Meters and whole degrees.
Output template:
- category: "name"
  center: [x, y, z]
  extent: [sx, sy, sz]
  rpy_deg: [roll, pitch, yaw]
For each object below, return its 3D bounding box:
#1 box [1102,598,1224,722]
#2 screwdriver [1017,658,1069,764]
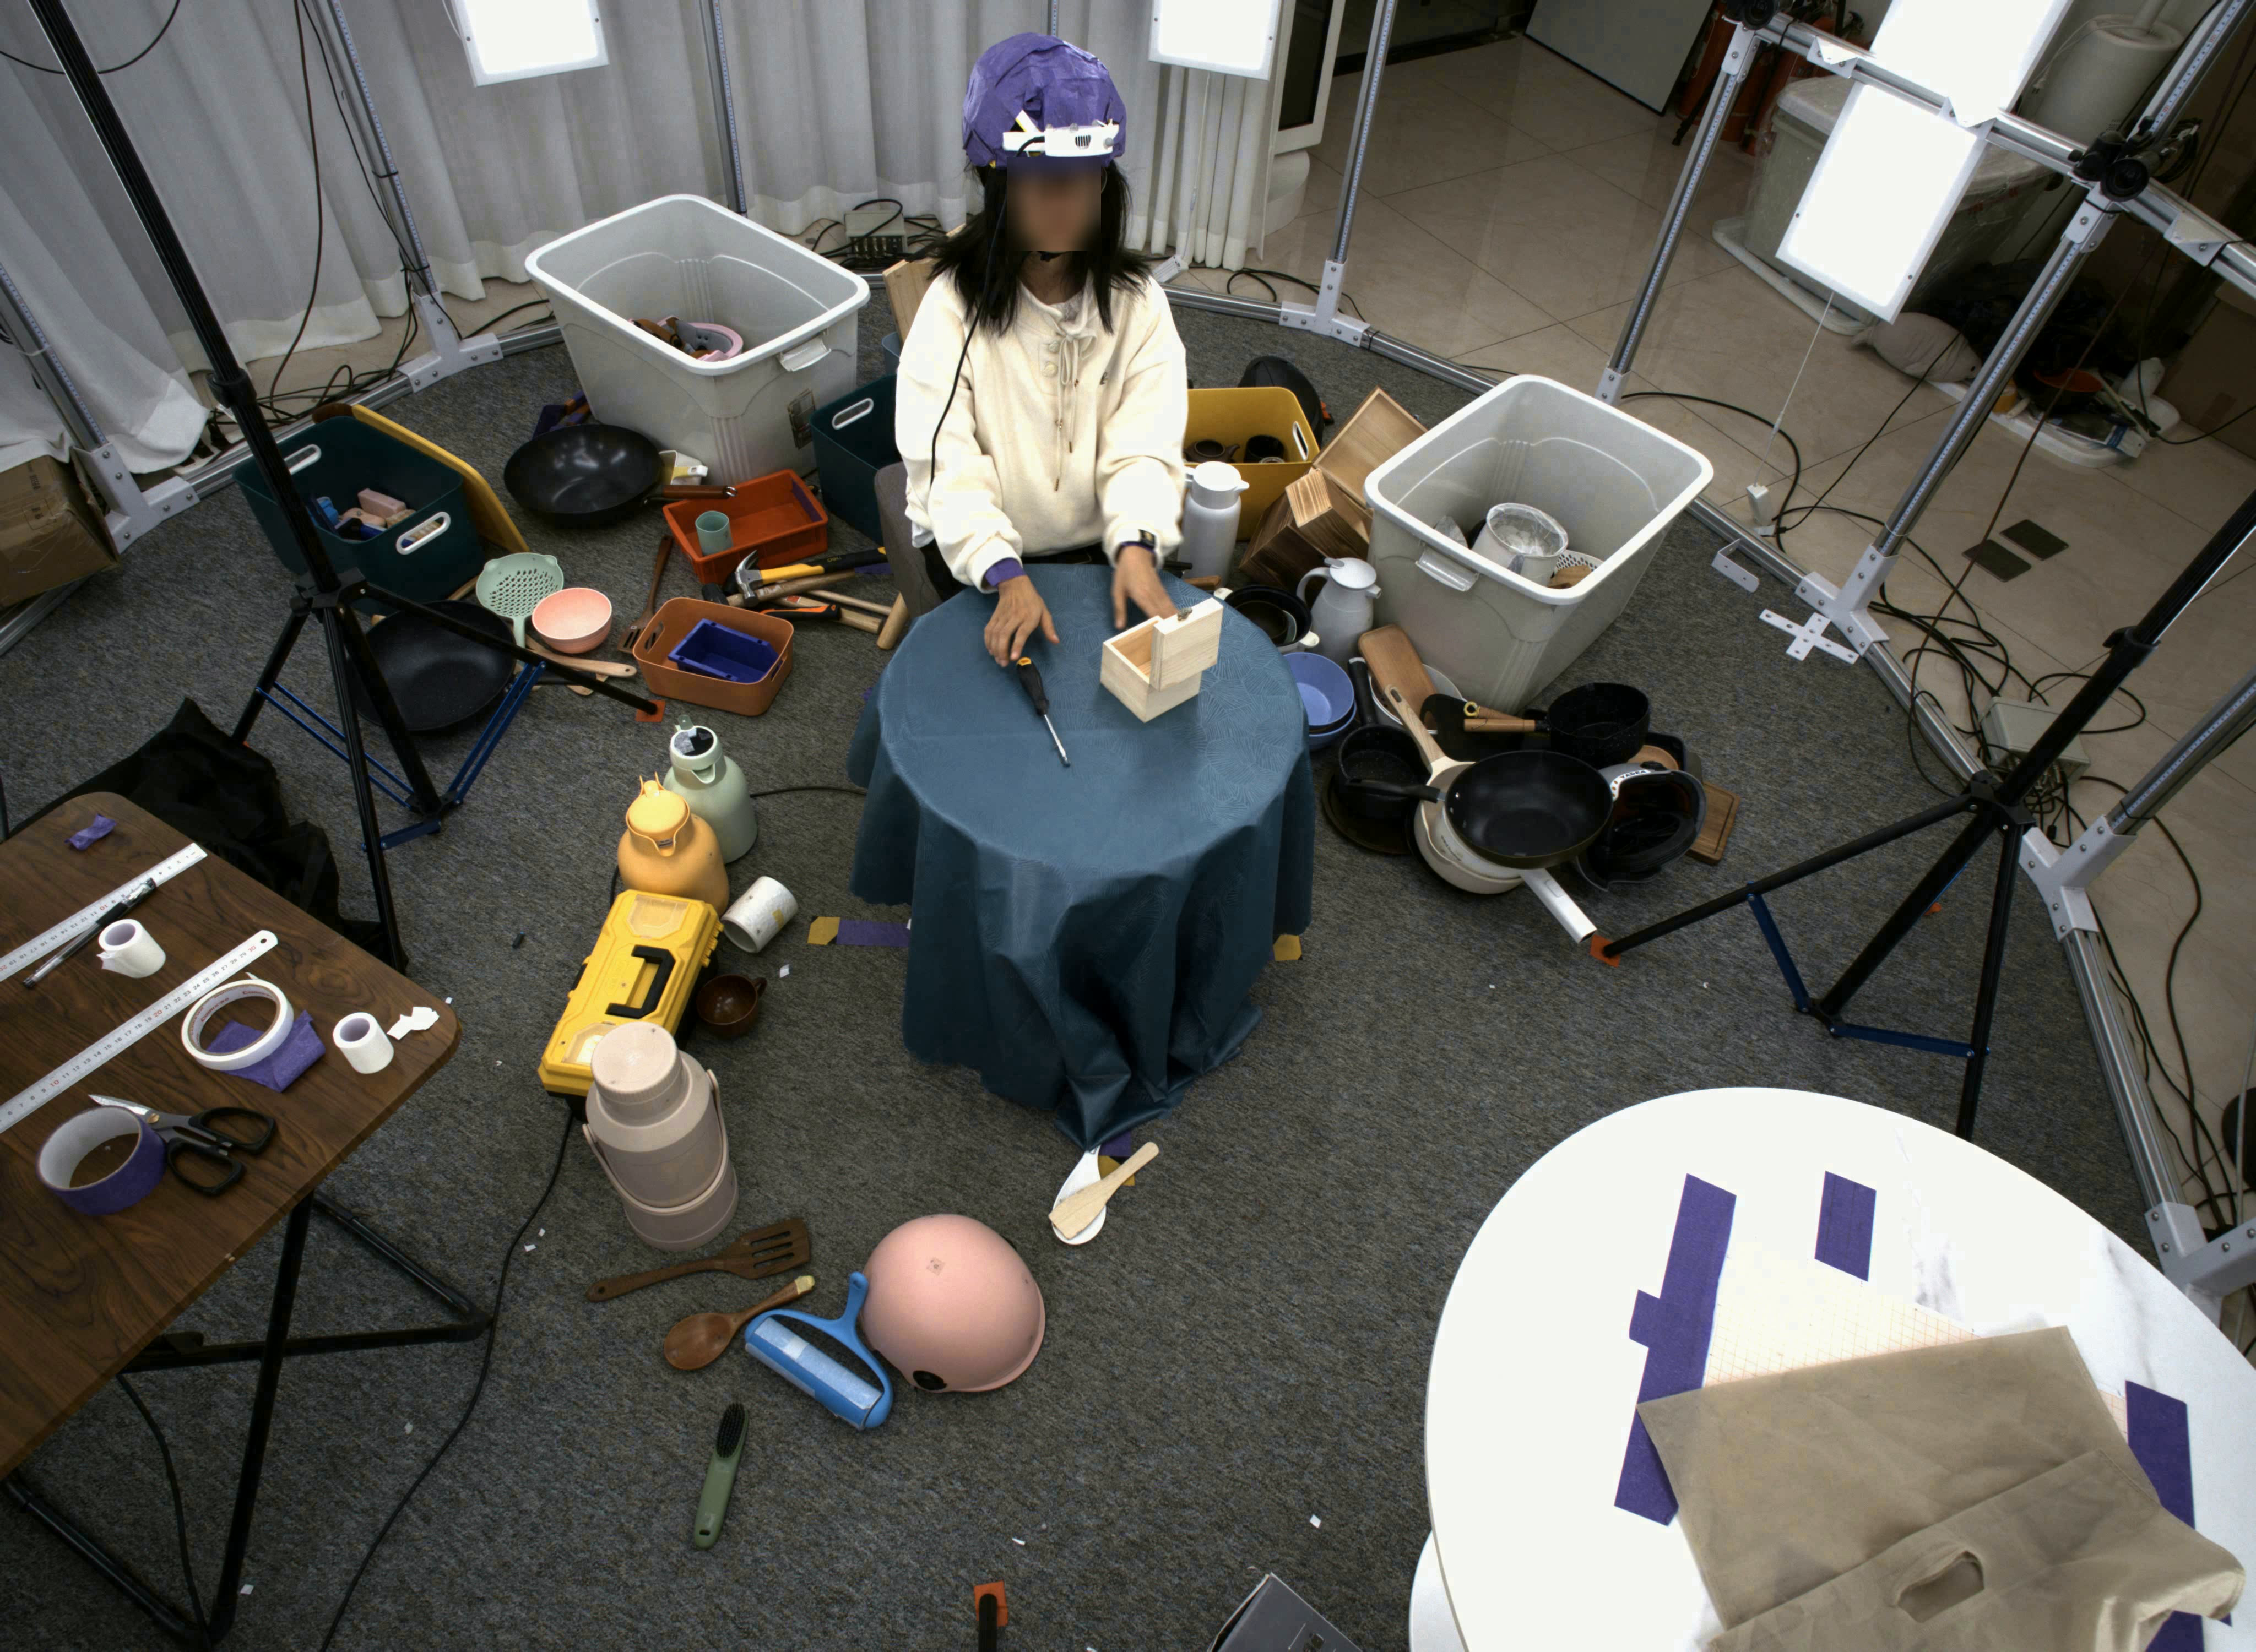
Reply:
- category: "box"
  center: [0.044, -0.251, 1.772]
  extent: [0.103, 0.180, 0.136]
  rpy_deg: [-30, 58, -27]
- category: "screwdriver"
  center: [-0.120, -0.159, 1.786]
  extent: [0.031, 0.031, 0.202]
  rpy_deg: [-11, 53, -14]
